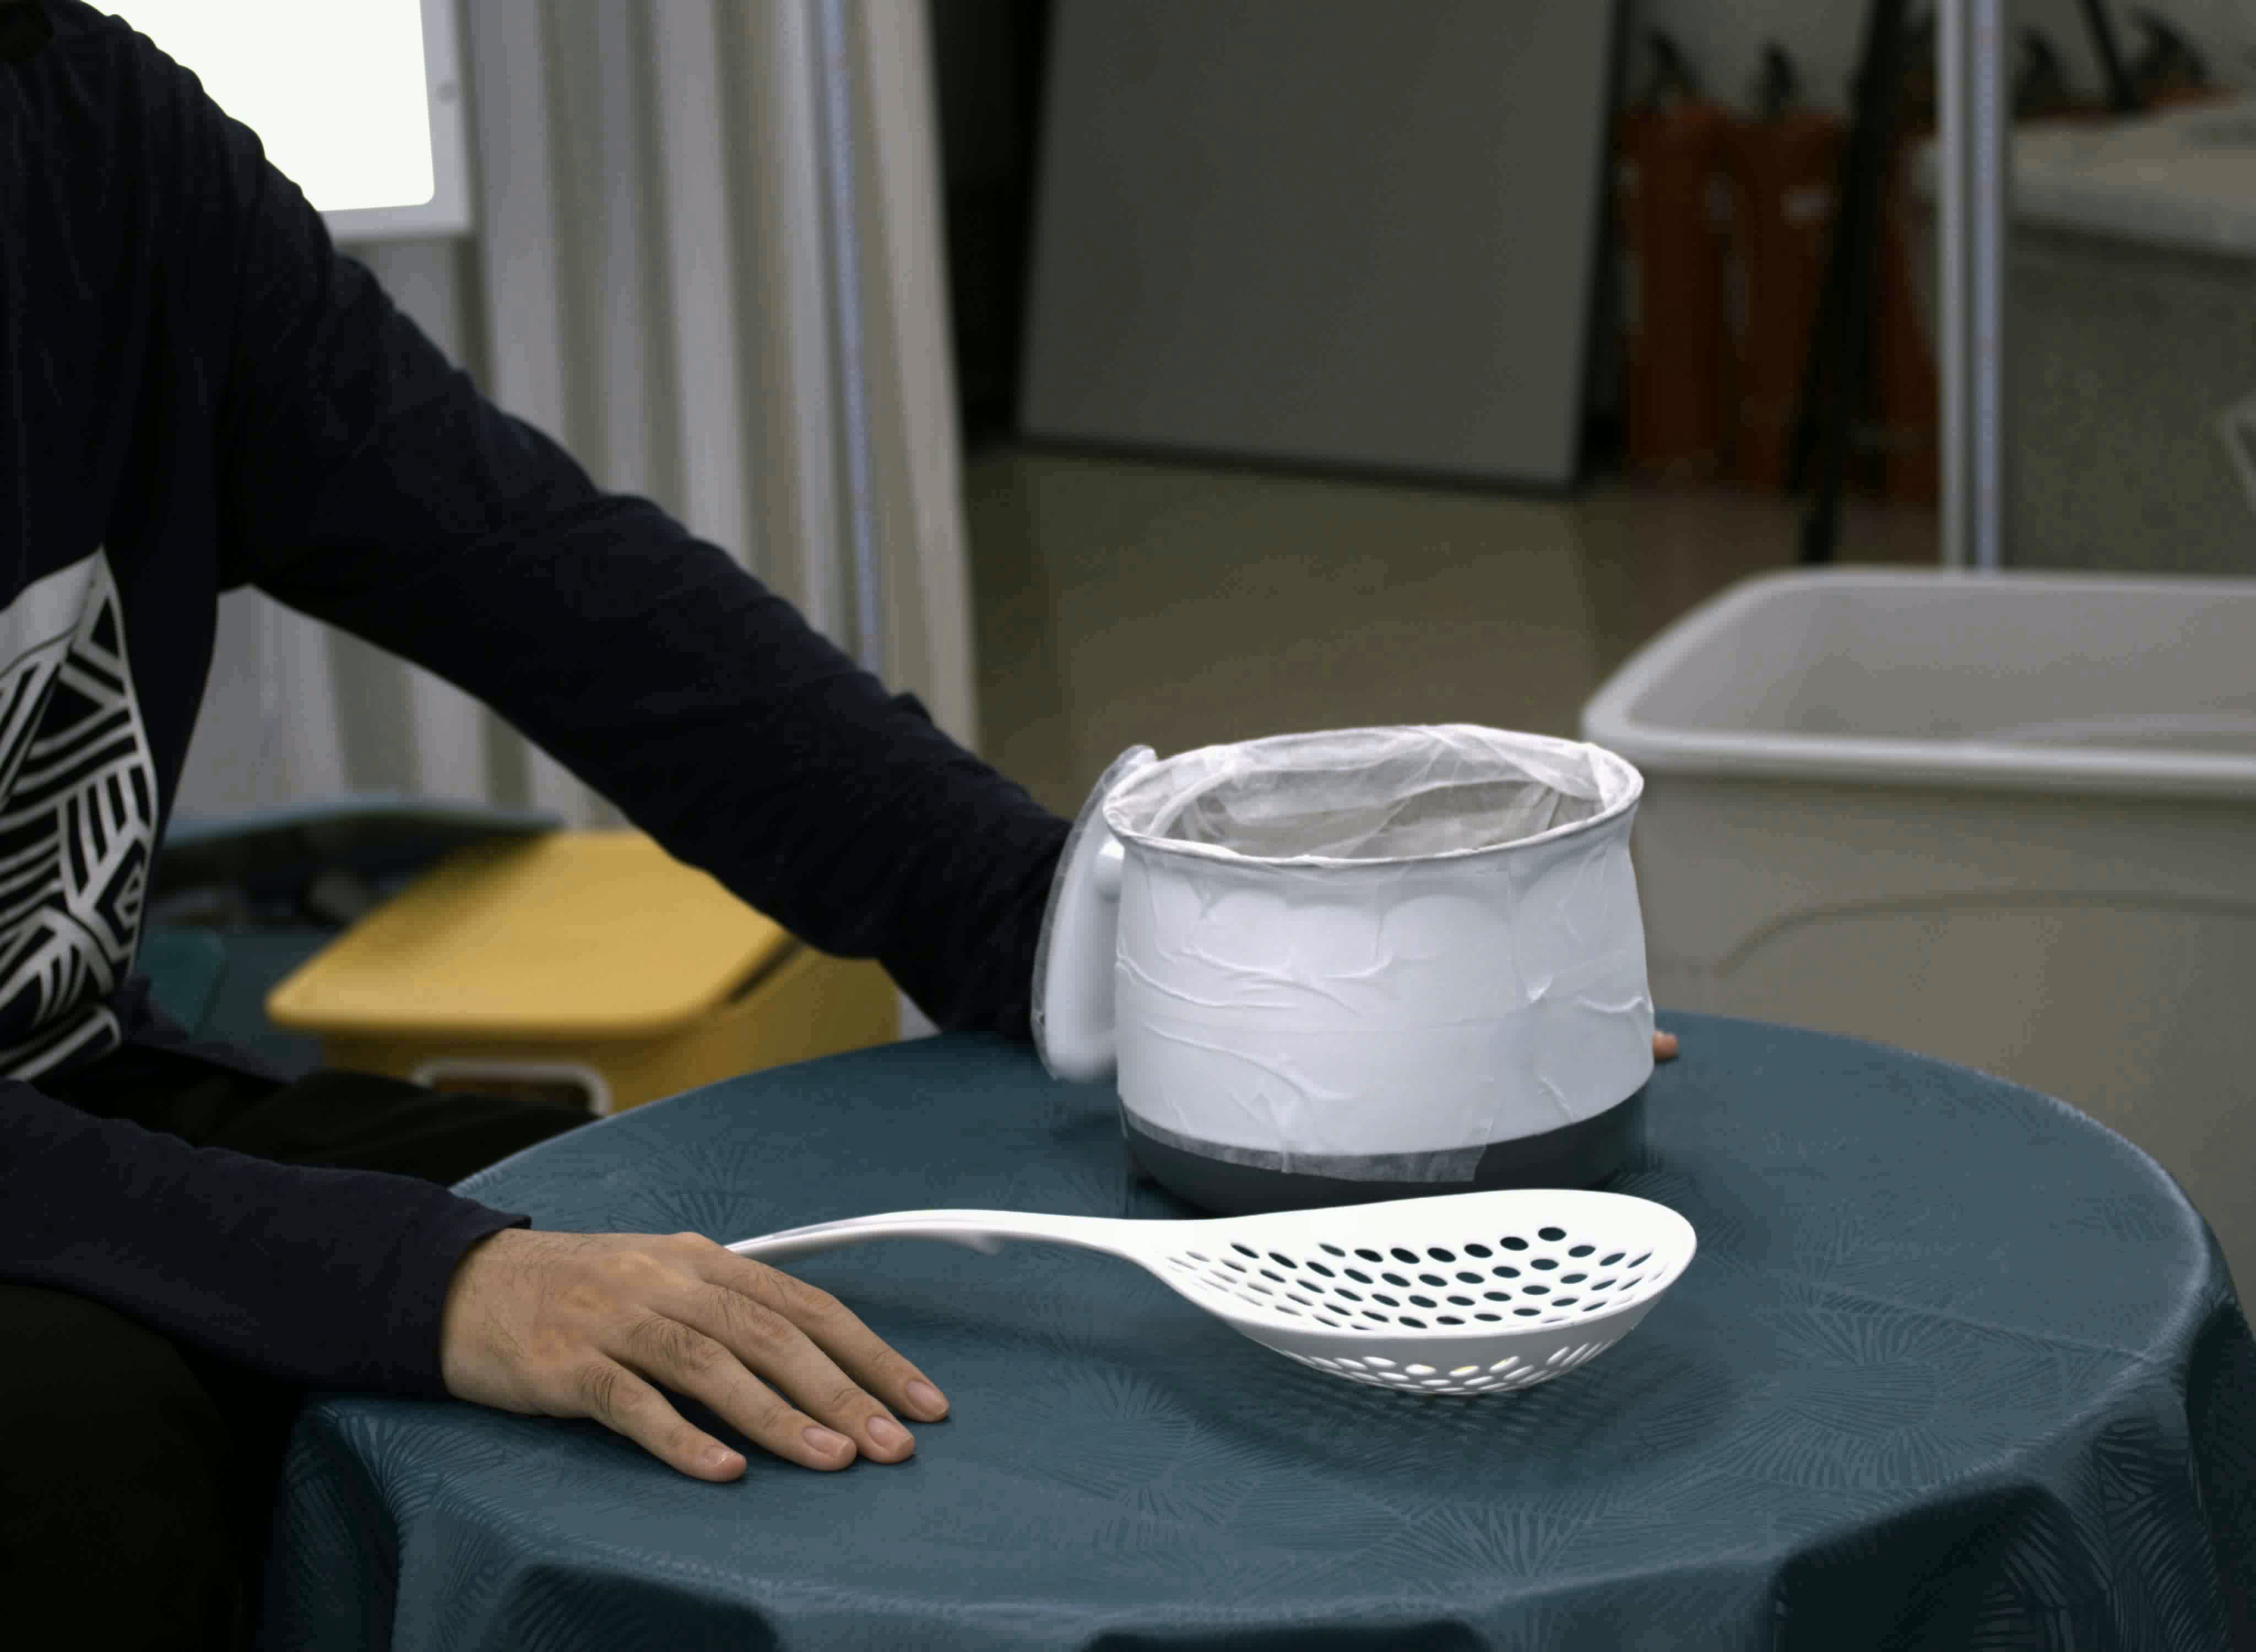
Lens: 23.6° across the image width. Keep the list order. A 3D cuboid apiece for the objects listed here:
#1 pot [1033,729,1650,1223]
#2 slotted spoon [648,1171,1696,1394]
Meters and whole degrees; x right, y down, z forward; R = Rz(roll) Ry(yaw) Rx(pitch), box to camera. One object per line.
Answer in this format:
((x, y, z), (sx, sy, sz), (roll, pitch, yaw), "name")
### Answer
((0.061, 0.047, 1.773), (0.235, 0.138, 0.175), (8, 15, 39), "pot")
((0.005, 0.134, 1.624), (0.349, 0.051, 0.135), (5, 17, 29), "slotted spoon")
